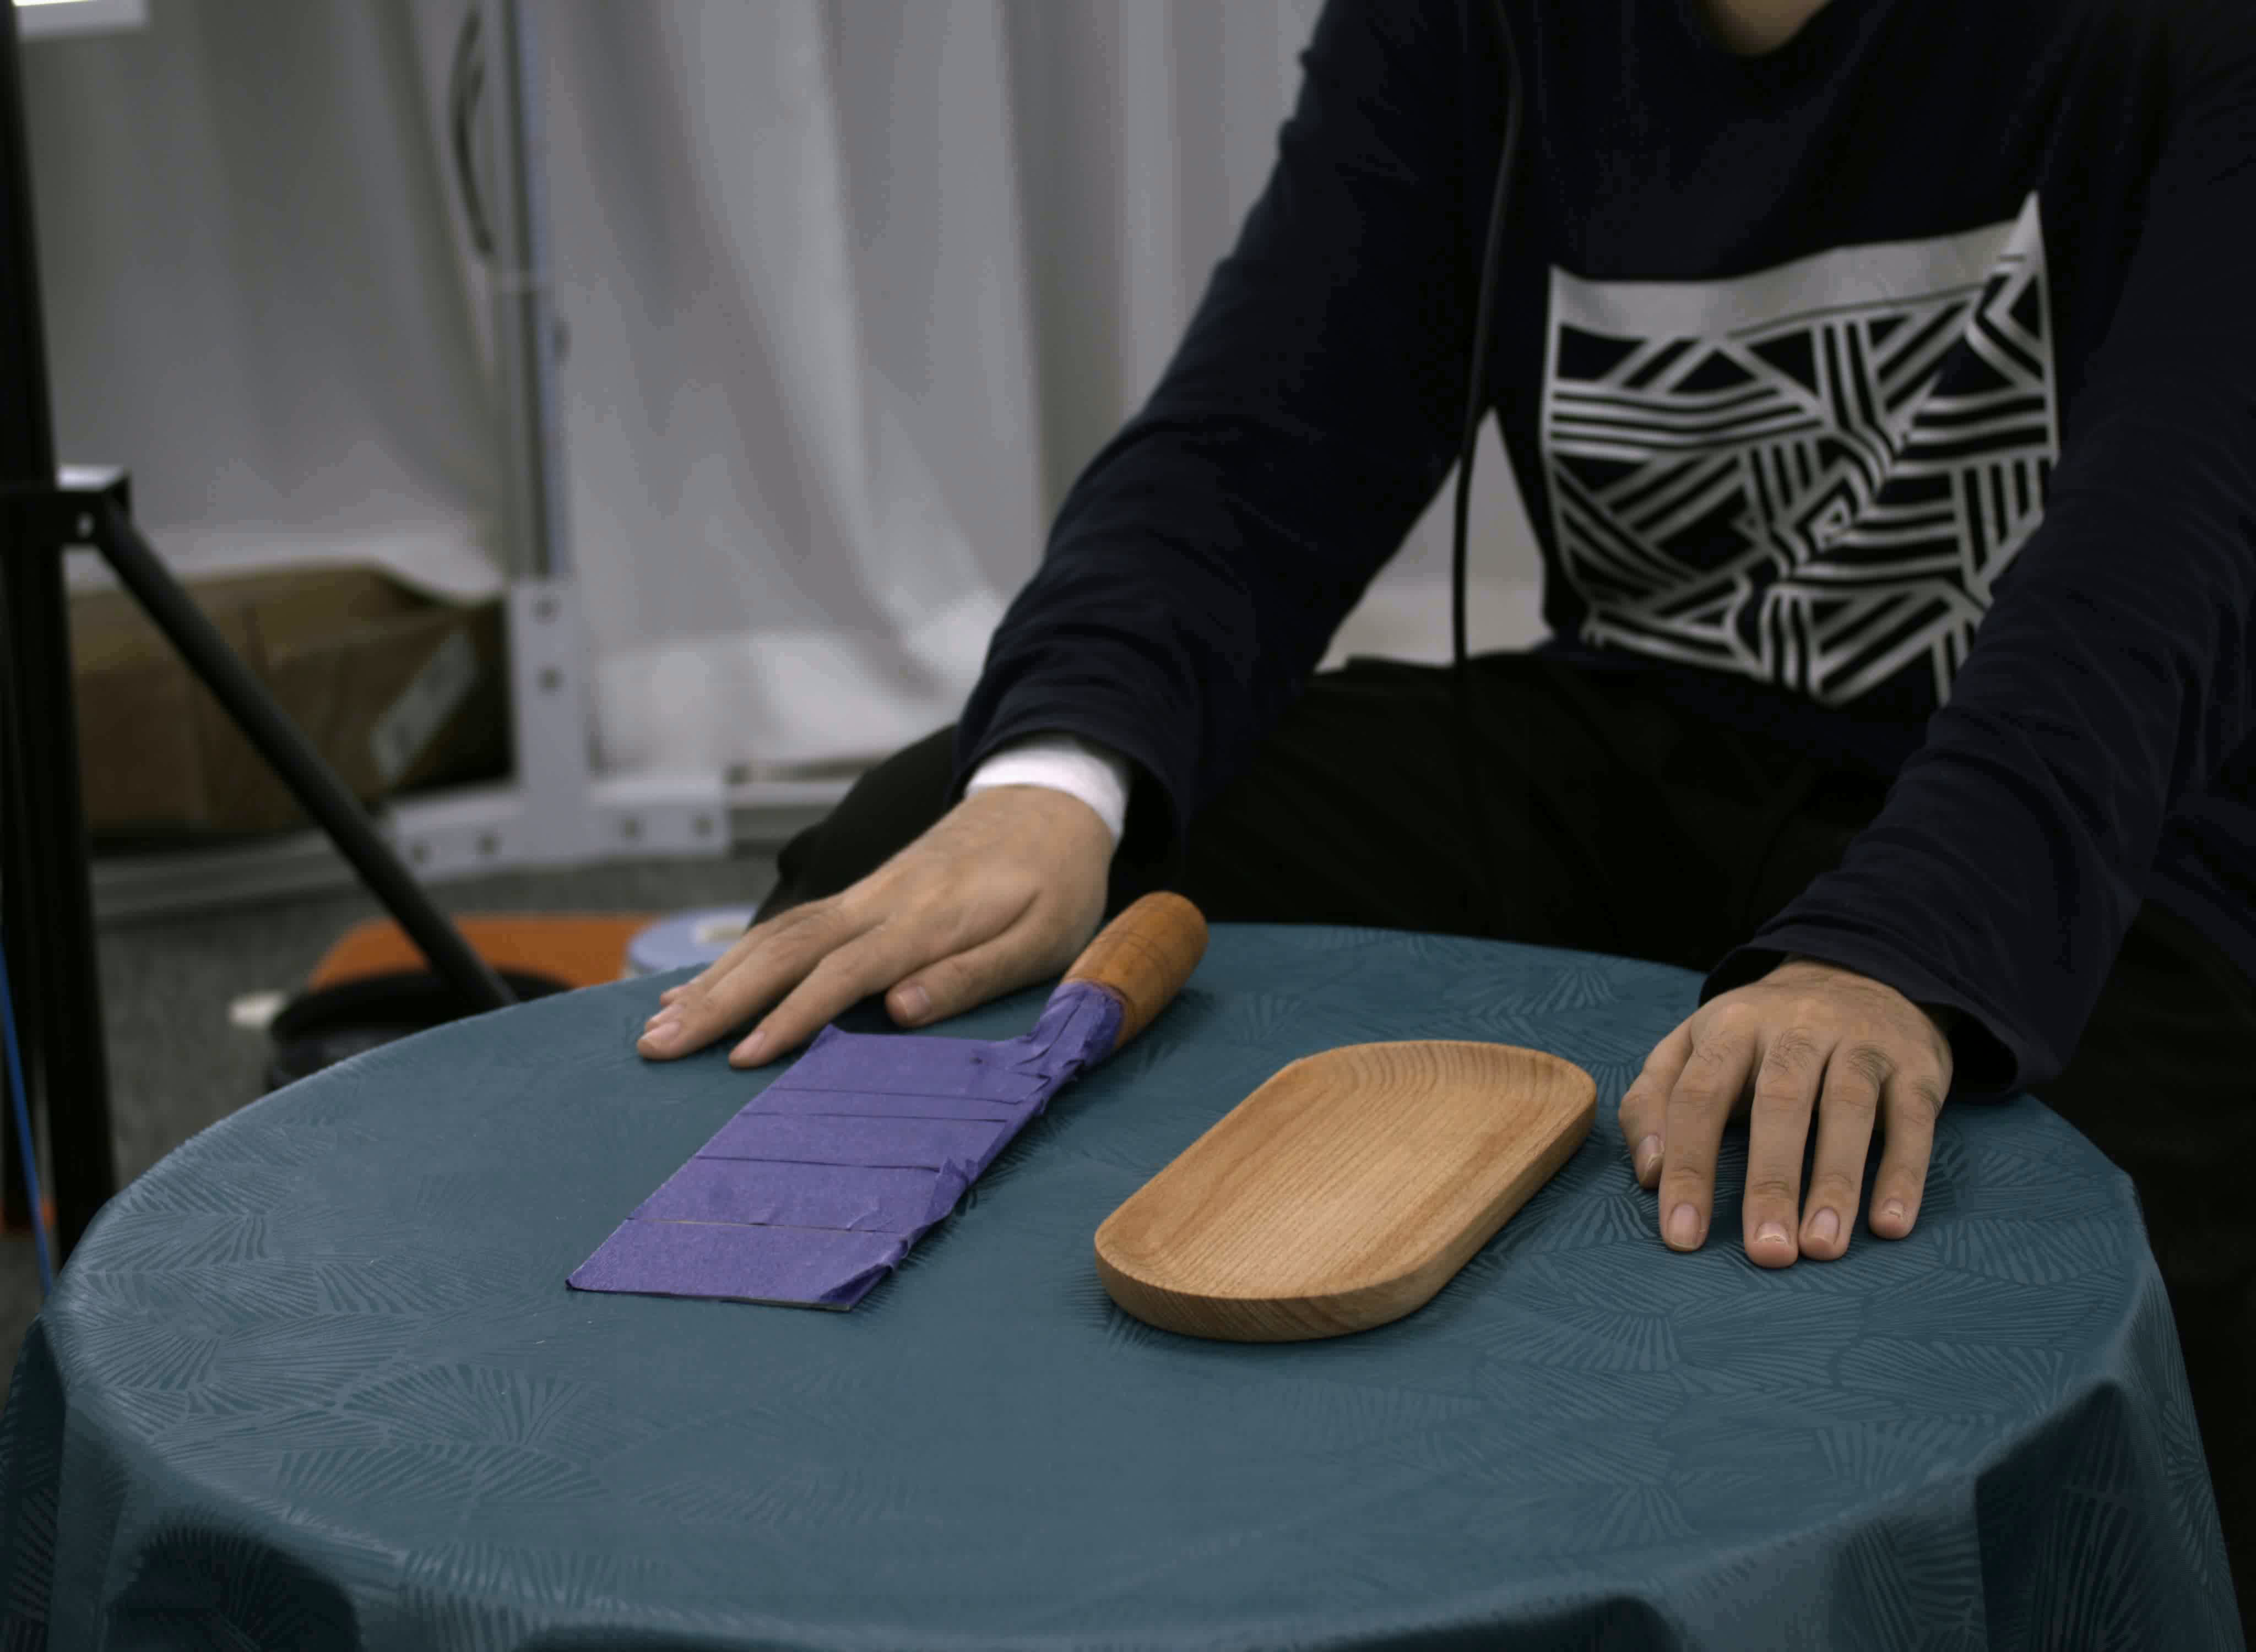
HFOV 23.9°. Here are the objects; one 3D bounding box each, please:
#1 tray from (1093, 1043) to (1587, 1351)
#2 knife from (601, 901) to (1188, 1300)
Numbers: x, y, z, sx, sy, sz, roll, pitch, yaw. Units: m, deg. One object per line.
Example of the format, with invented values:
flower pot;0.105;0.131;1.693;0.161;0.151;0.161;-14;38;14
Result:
tray;0.064;0.105;1.533;0.103;0.020;0.228;3;18;21
knife;-0.068;0.080;1.624;0.105;0.032;0.312;3;17;18
